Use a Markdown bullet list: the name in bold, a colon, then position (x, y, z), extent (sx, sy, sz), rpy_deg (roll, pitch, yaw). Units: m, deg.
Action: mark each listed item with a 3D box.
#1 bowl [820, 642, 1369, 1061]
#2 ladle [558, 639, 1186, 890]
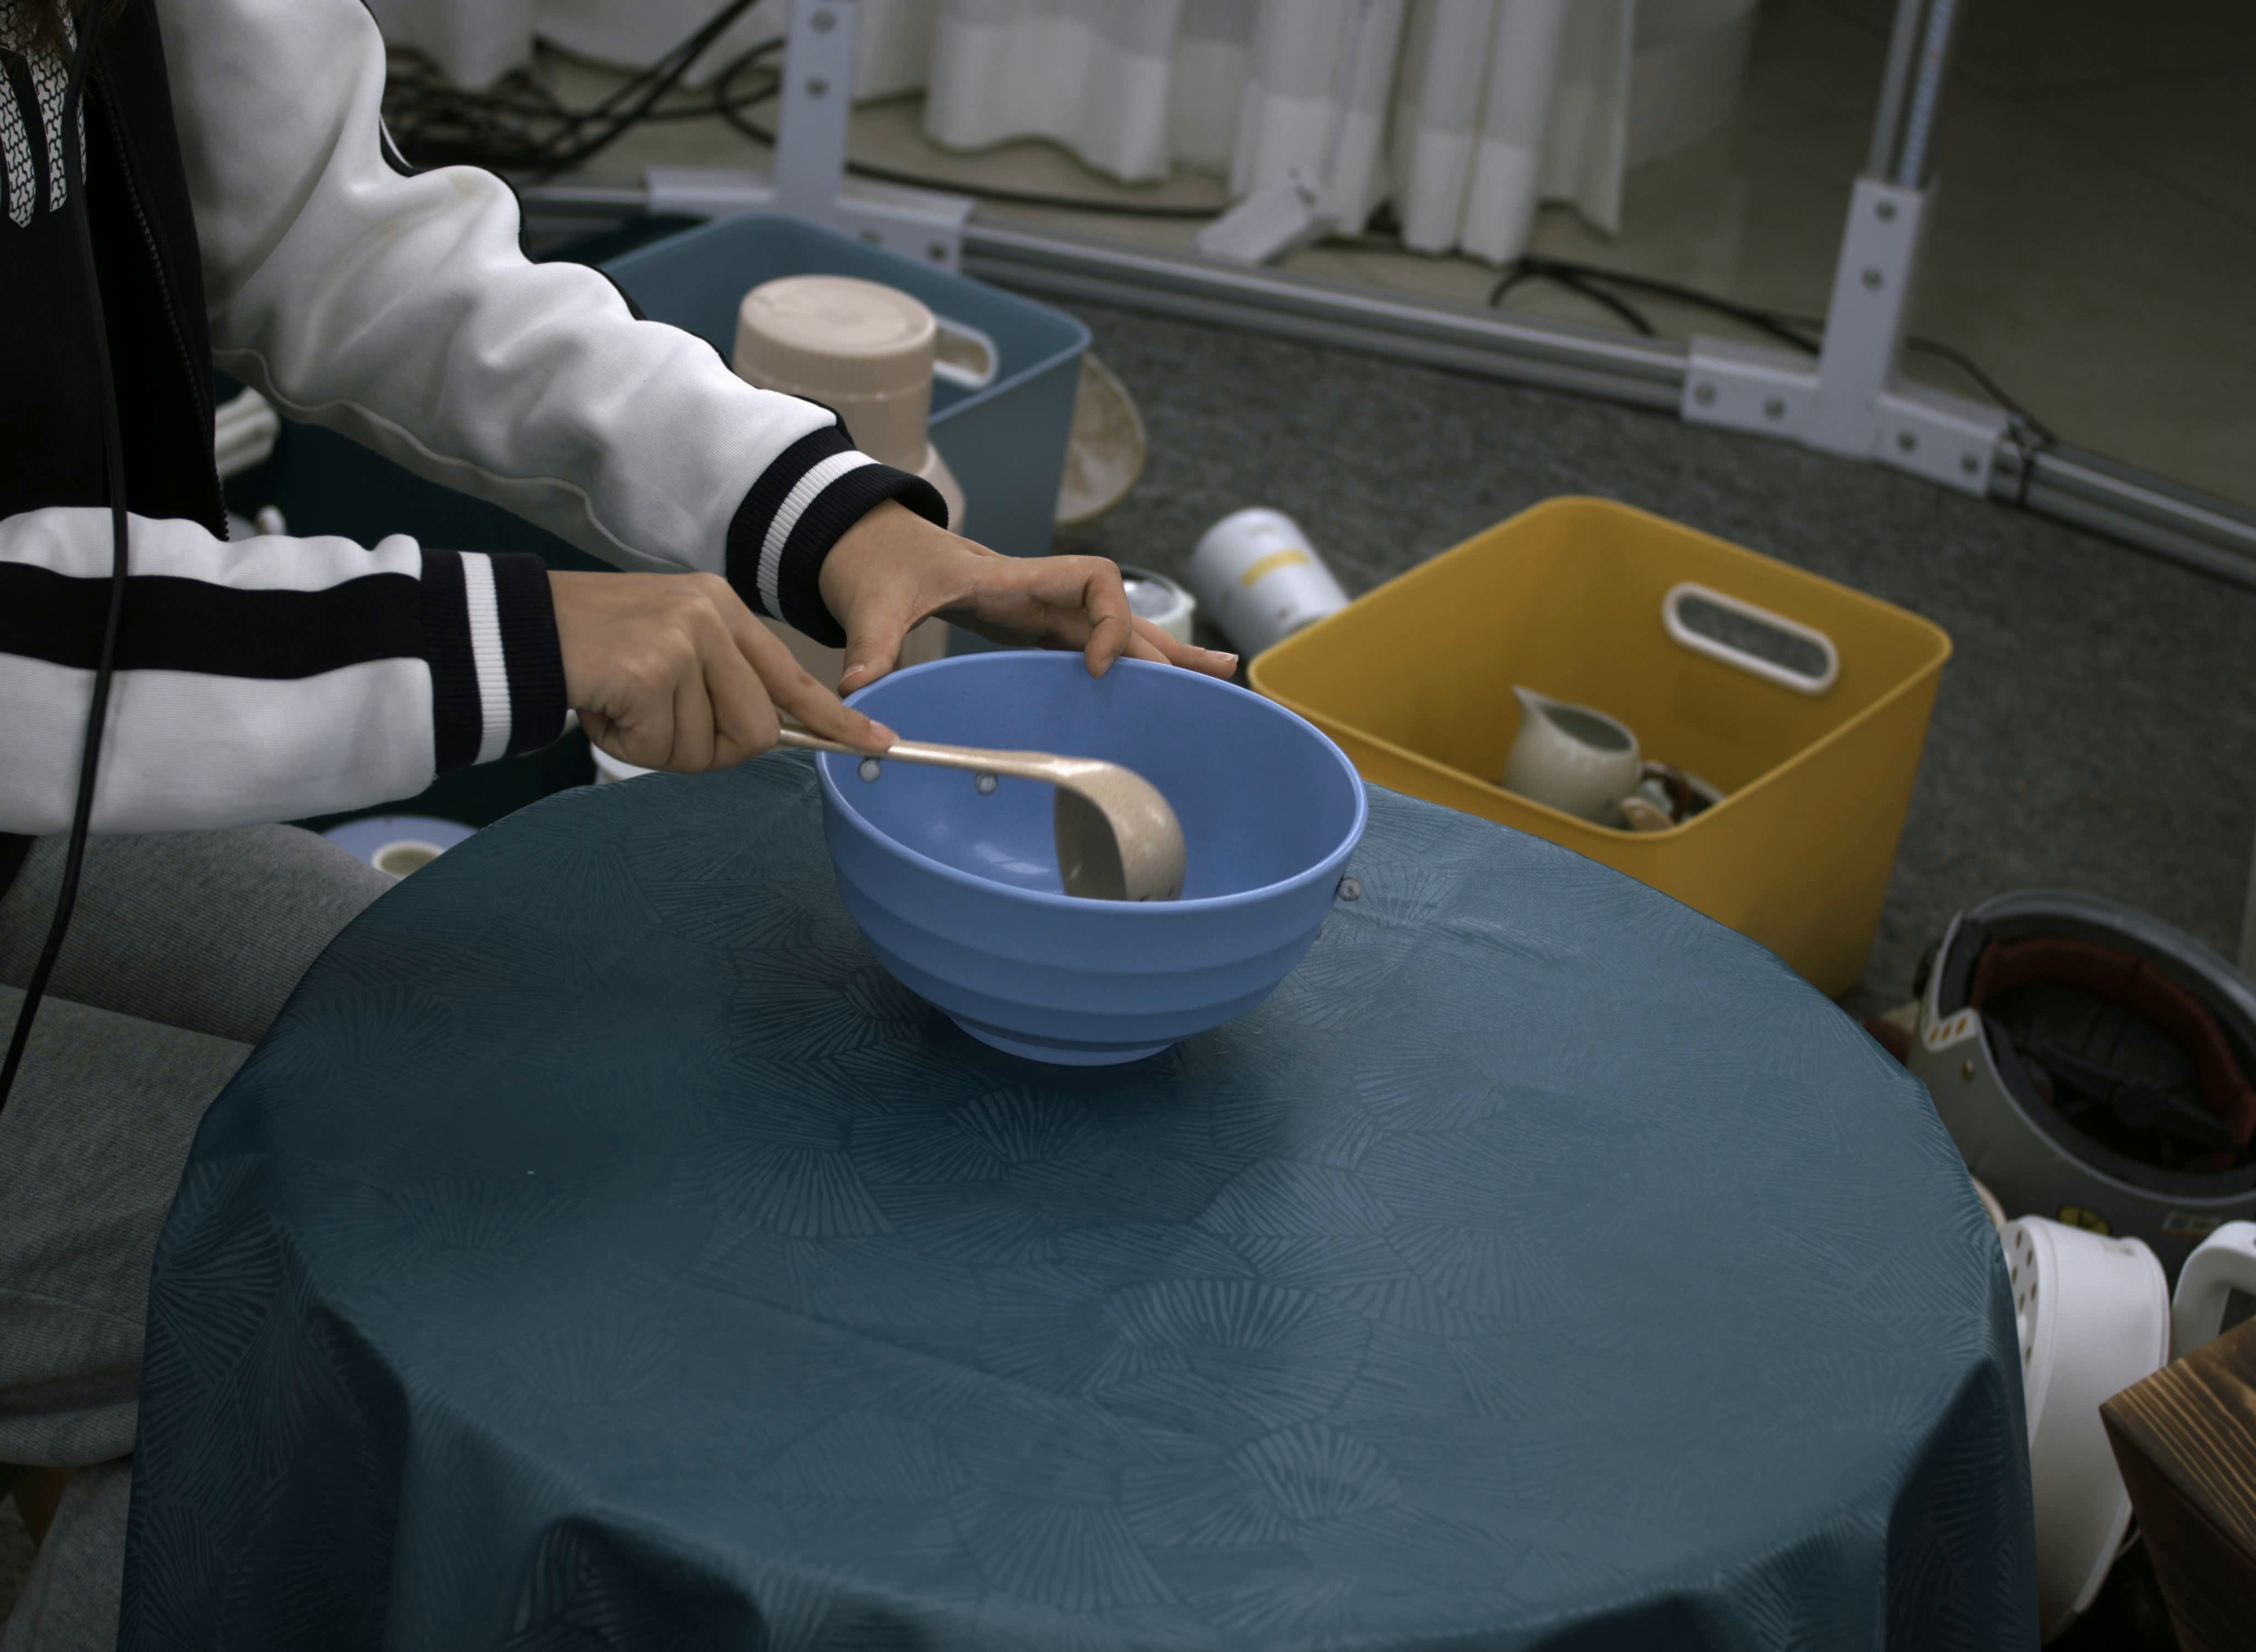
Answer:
- **bowl**: position (-0.018, 0.021, 1.893), extent (0.196, 0.095, 0.197), rpy_deg (8, 27, -4)
- **ladle**: position (-0.096, -0.004, 1.852), extent (0.252, 0.073, 0.073), rpy_deg (13, 23, -28)
